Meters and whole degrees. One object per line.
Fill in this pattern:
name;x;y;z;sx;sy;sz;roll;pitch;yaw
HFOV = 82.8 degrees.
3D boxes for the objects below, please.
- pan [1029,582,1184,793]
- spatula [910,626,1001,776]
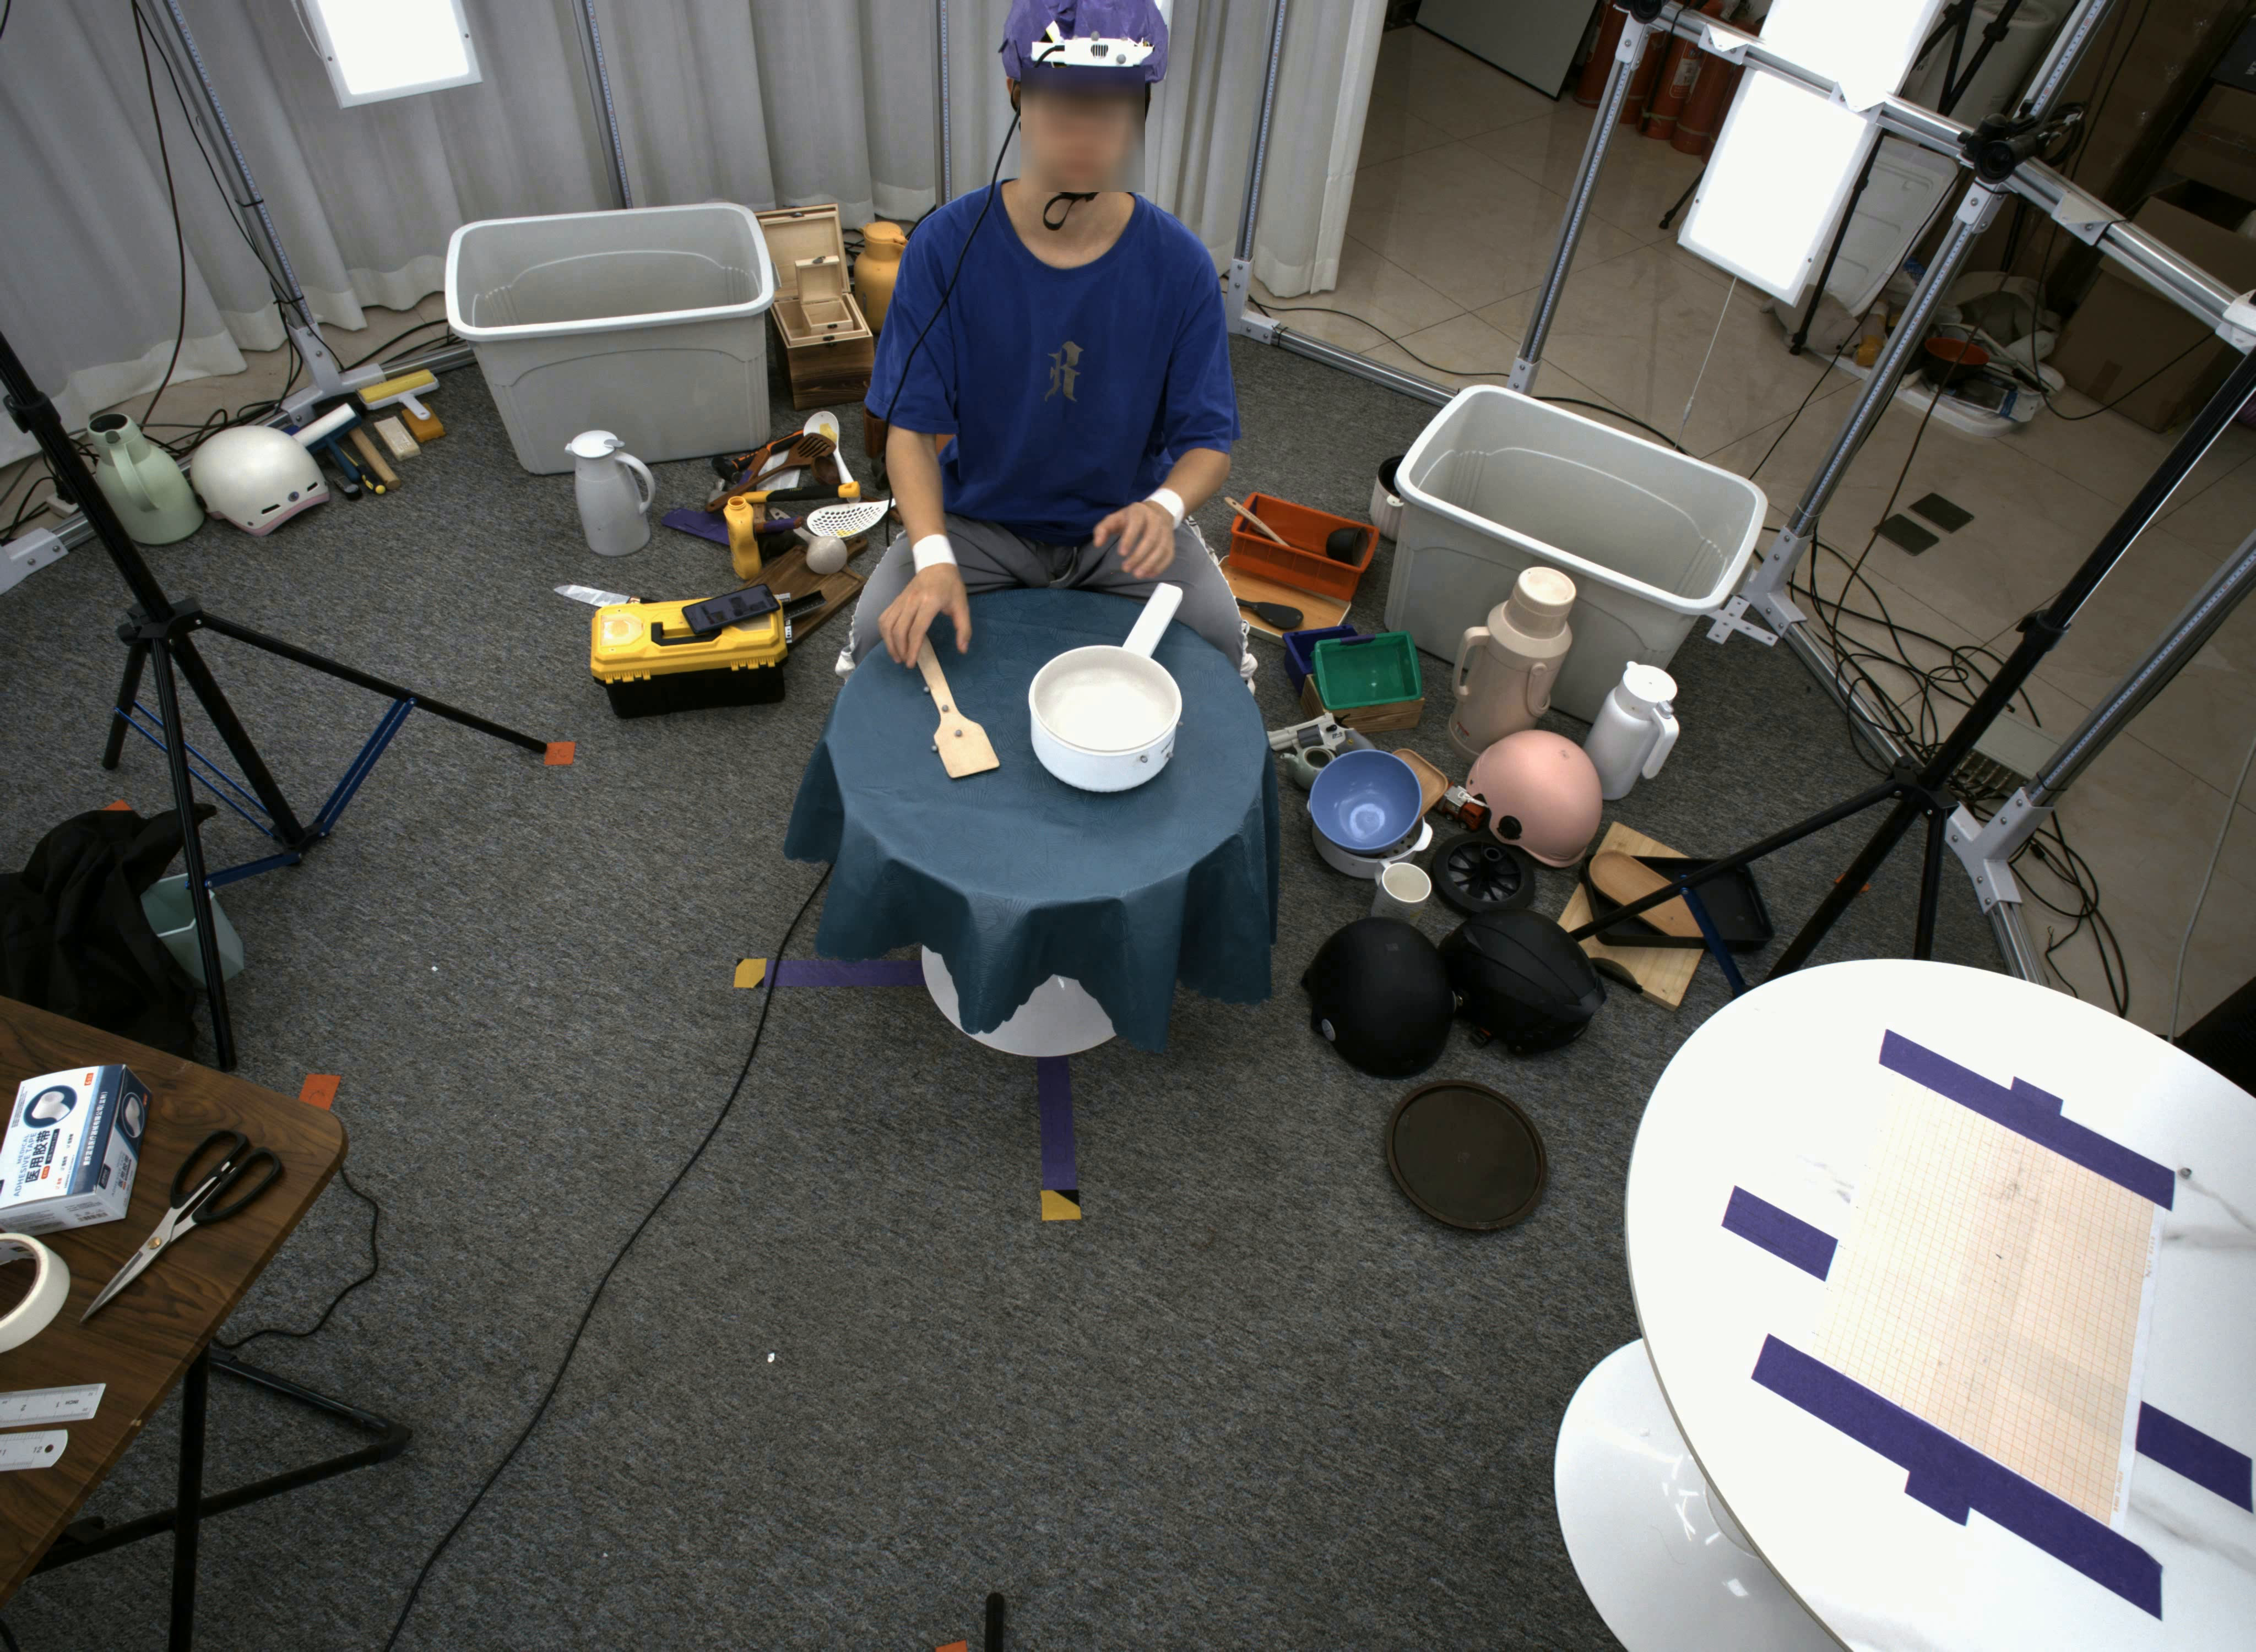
pan;-0.004;-0.194;1.777;0.202;0.099;0.362;17;51;13
spatula;-0.256;-0.181;1.806;0.072;0.010;0.300;-15;53;-15
